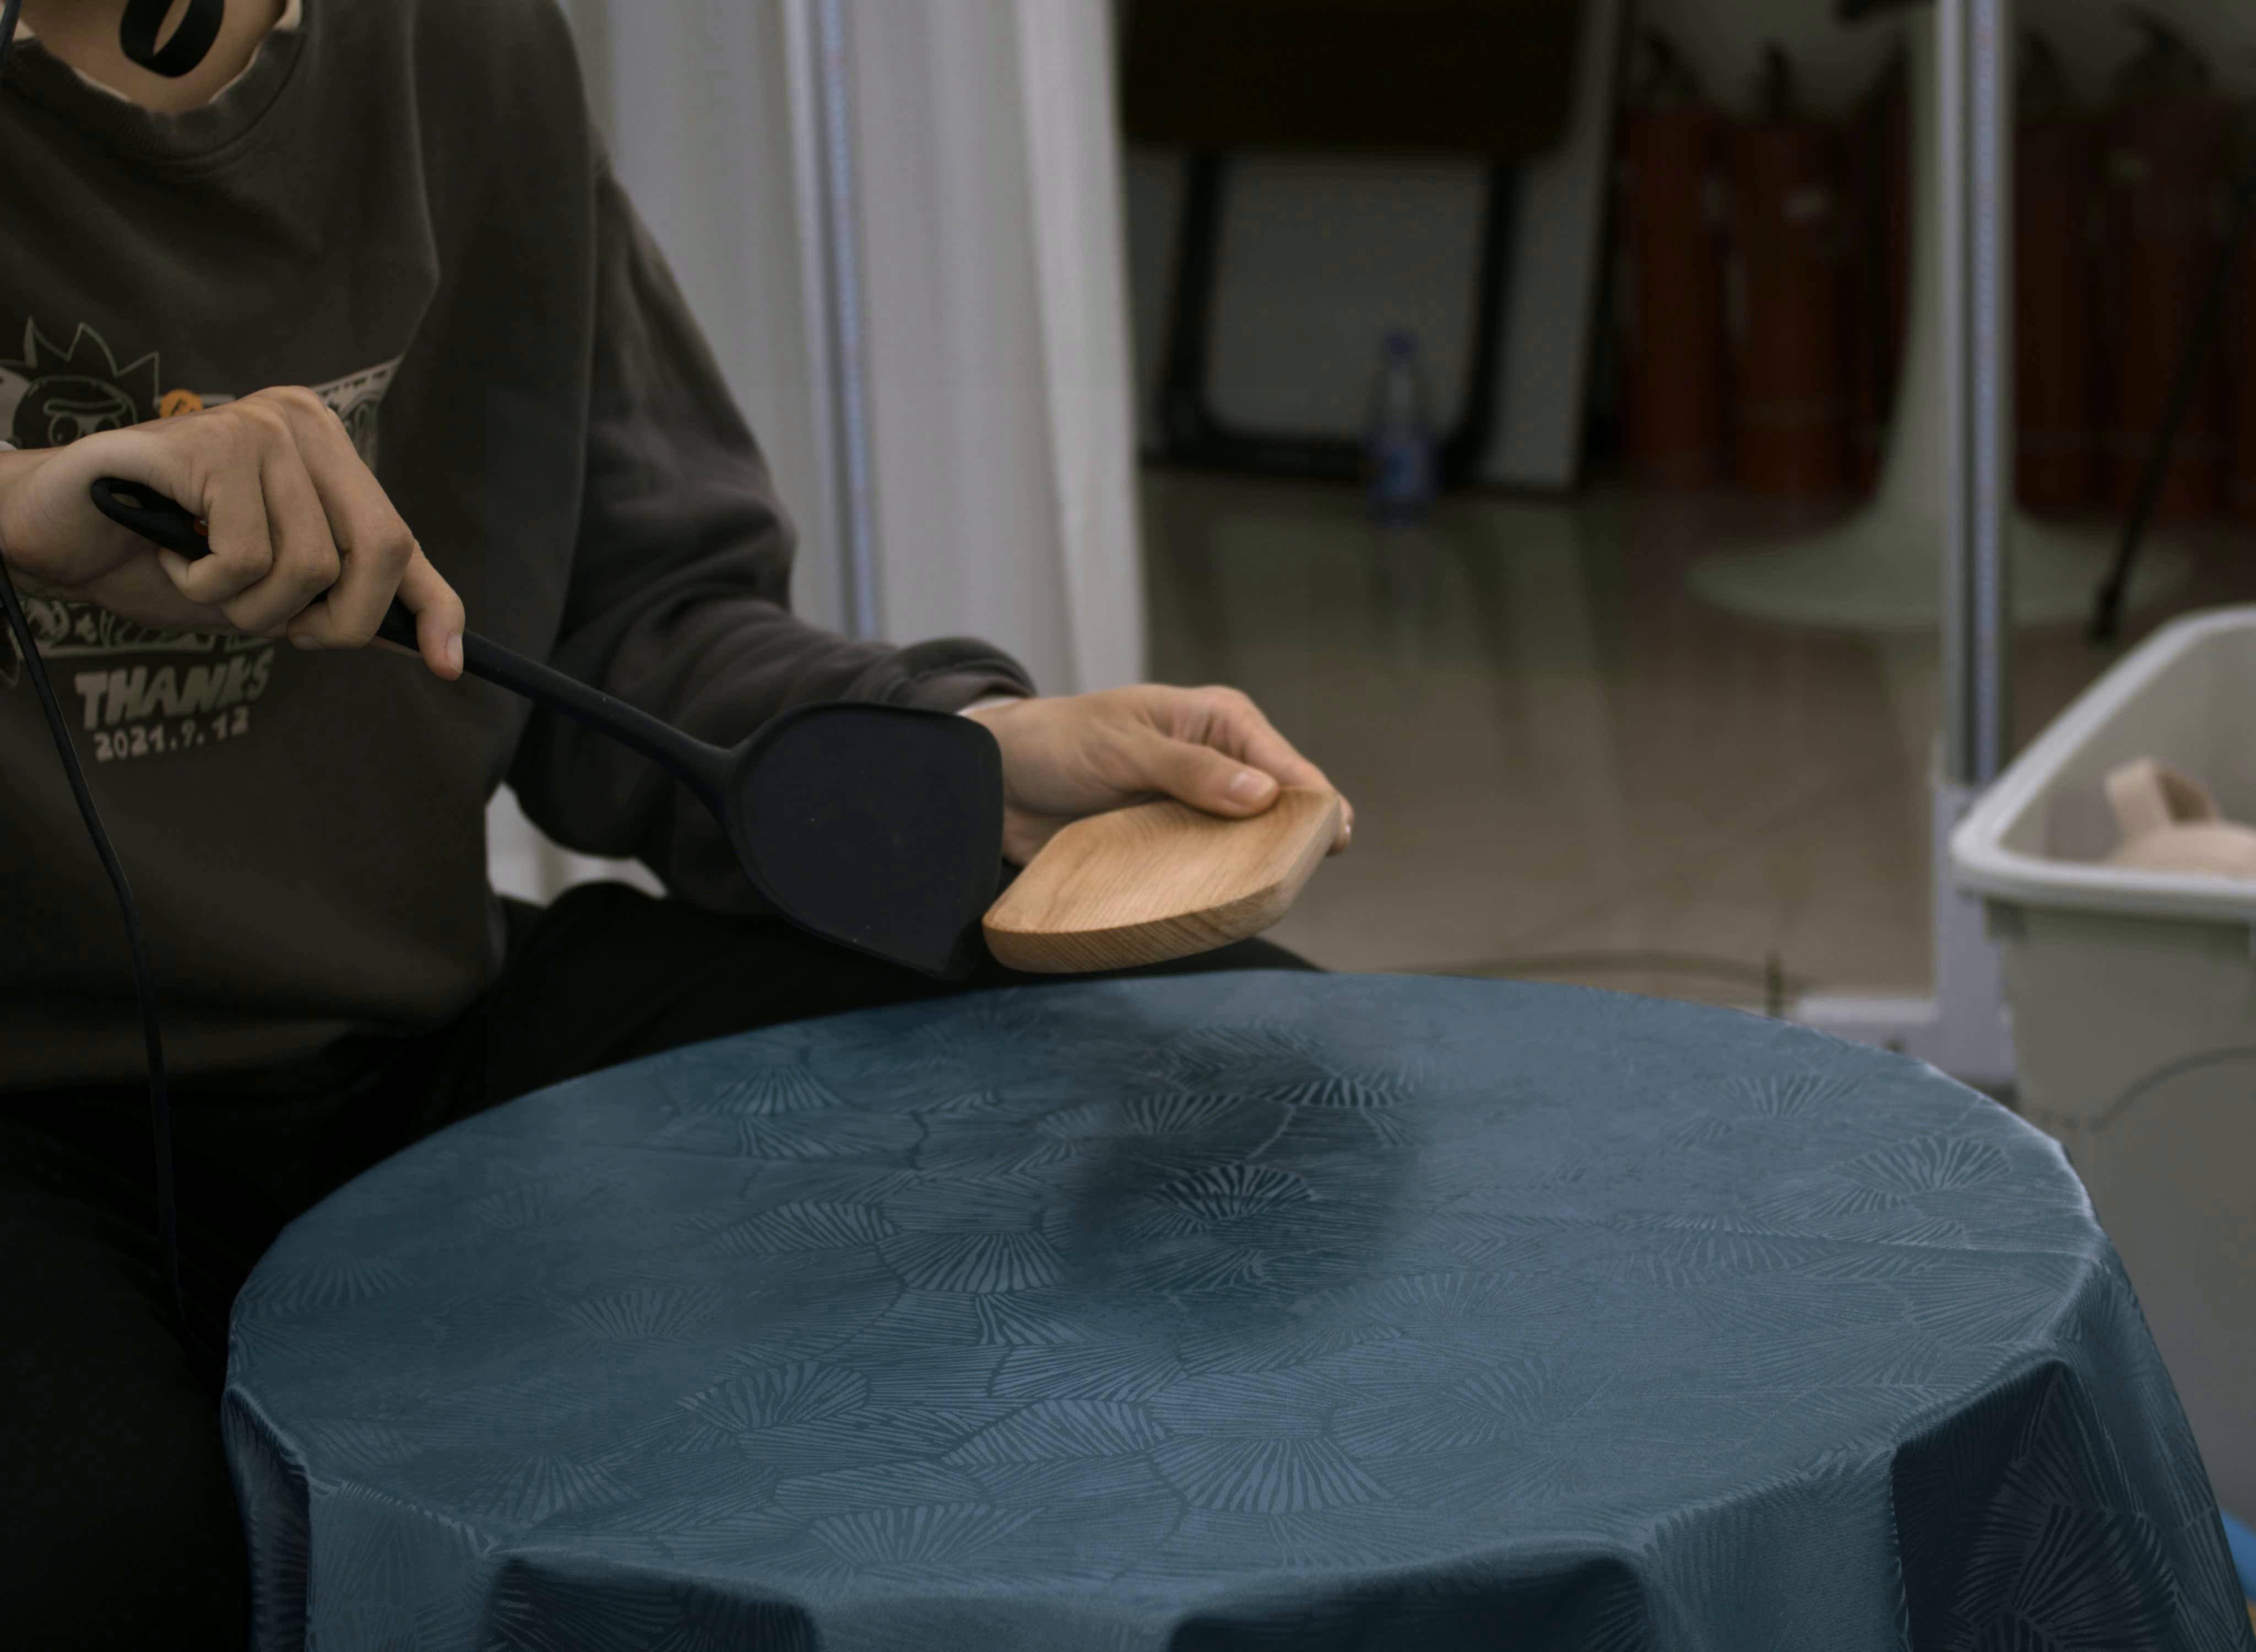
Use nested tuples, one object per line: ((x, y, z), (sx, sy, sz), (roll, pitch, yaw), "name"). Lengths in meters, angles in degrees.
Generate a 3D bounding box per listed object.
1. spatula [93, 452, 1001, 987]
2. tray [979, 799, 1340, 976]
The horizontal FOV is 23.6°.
((-0.176, -0.046, 1.687), (0.320, 0.100, 0.041), (28, -38, -30), "spatula")
((0.013, 0.019, 1.792), (0.101, 0.020, 0.230), (-9, 9, 11), "tray")
